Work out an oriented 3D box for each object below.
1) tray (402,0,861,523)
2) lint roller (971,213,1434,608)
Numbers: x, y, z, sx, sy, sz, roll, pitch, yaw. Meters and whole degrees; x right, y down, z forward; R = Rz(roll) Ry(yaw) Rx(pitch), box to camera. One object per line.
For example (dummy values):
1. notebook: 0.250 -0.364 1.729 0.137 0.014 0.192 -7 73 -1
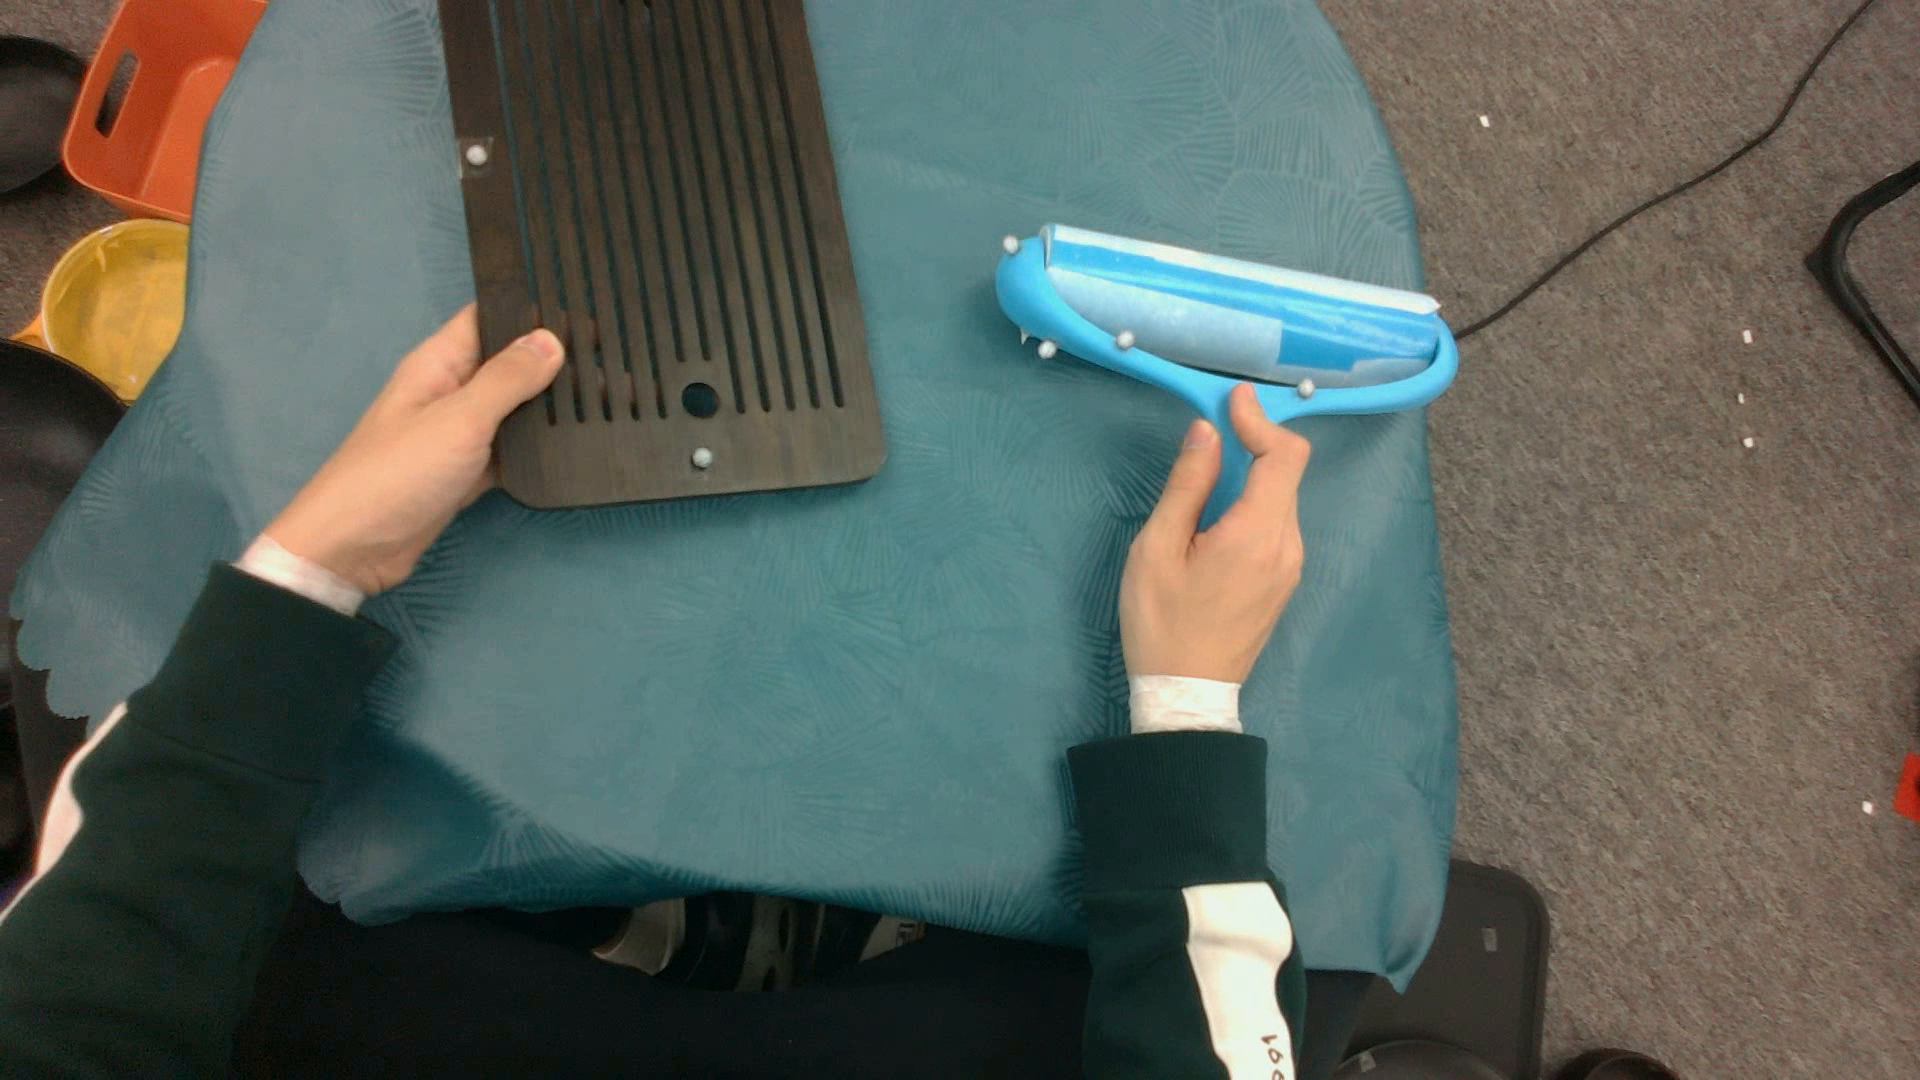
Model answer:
1. tray: -0.155 -0.162 0.637 0.170 0.018 0.306 -8 79 -22
2. lint roller: 0.117 -0.061 0.652 0.229 0.067 0.180 4 74 -10
